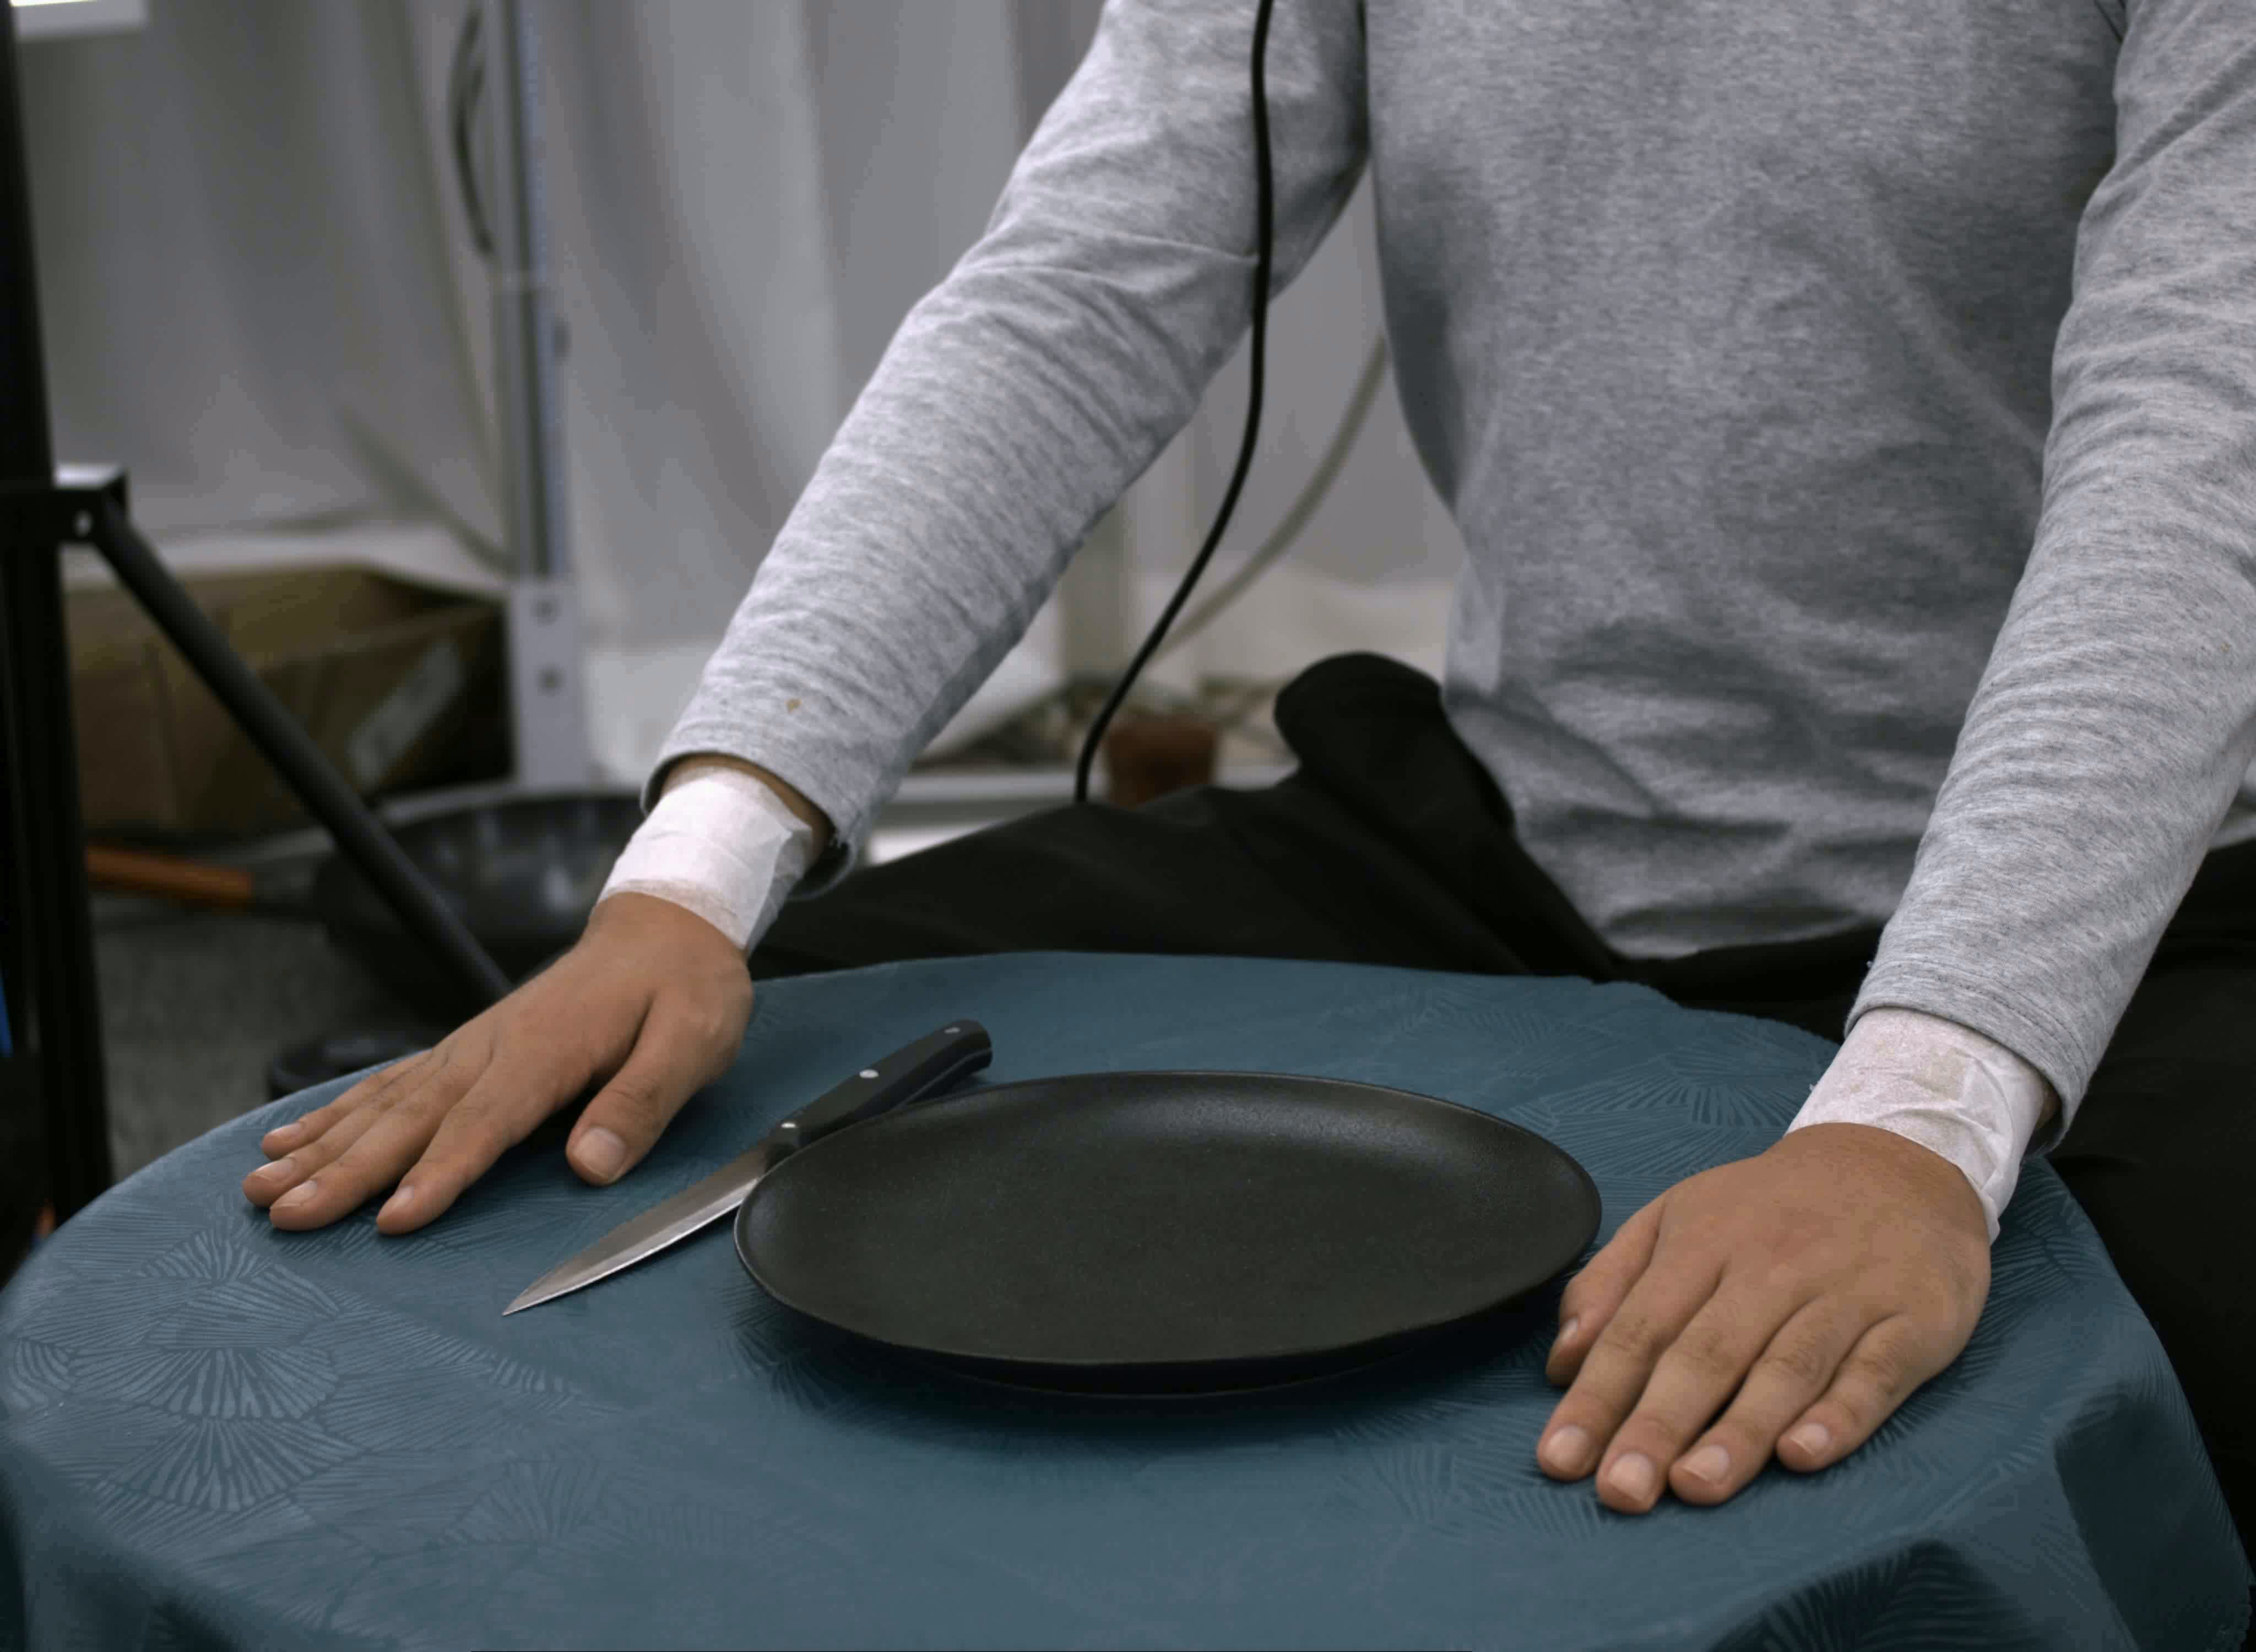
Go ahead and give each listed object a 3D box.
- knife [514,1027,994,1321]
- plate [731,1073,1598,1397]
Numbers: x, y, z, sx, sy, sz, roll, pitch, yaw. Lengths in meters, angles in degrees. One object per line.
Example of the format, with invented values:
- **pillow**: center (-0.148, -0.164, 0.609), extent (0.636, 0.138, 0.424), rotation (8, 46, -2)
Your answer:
- **knife**: center (-0.111, 0.103, 1.578), extent (0.025, 0.016, 0.234), rotation (7, 21, 32)
- **plate**: center (0.011, 0.117, 1.488), extent (0.243, 0.023, 0.245), rotation (-3, 16, -1)
